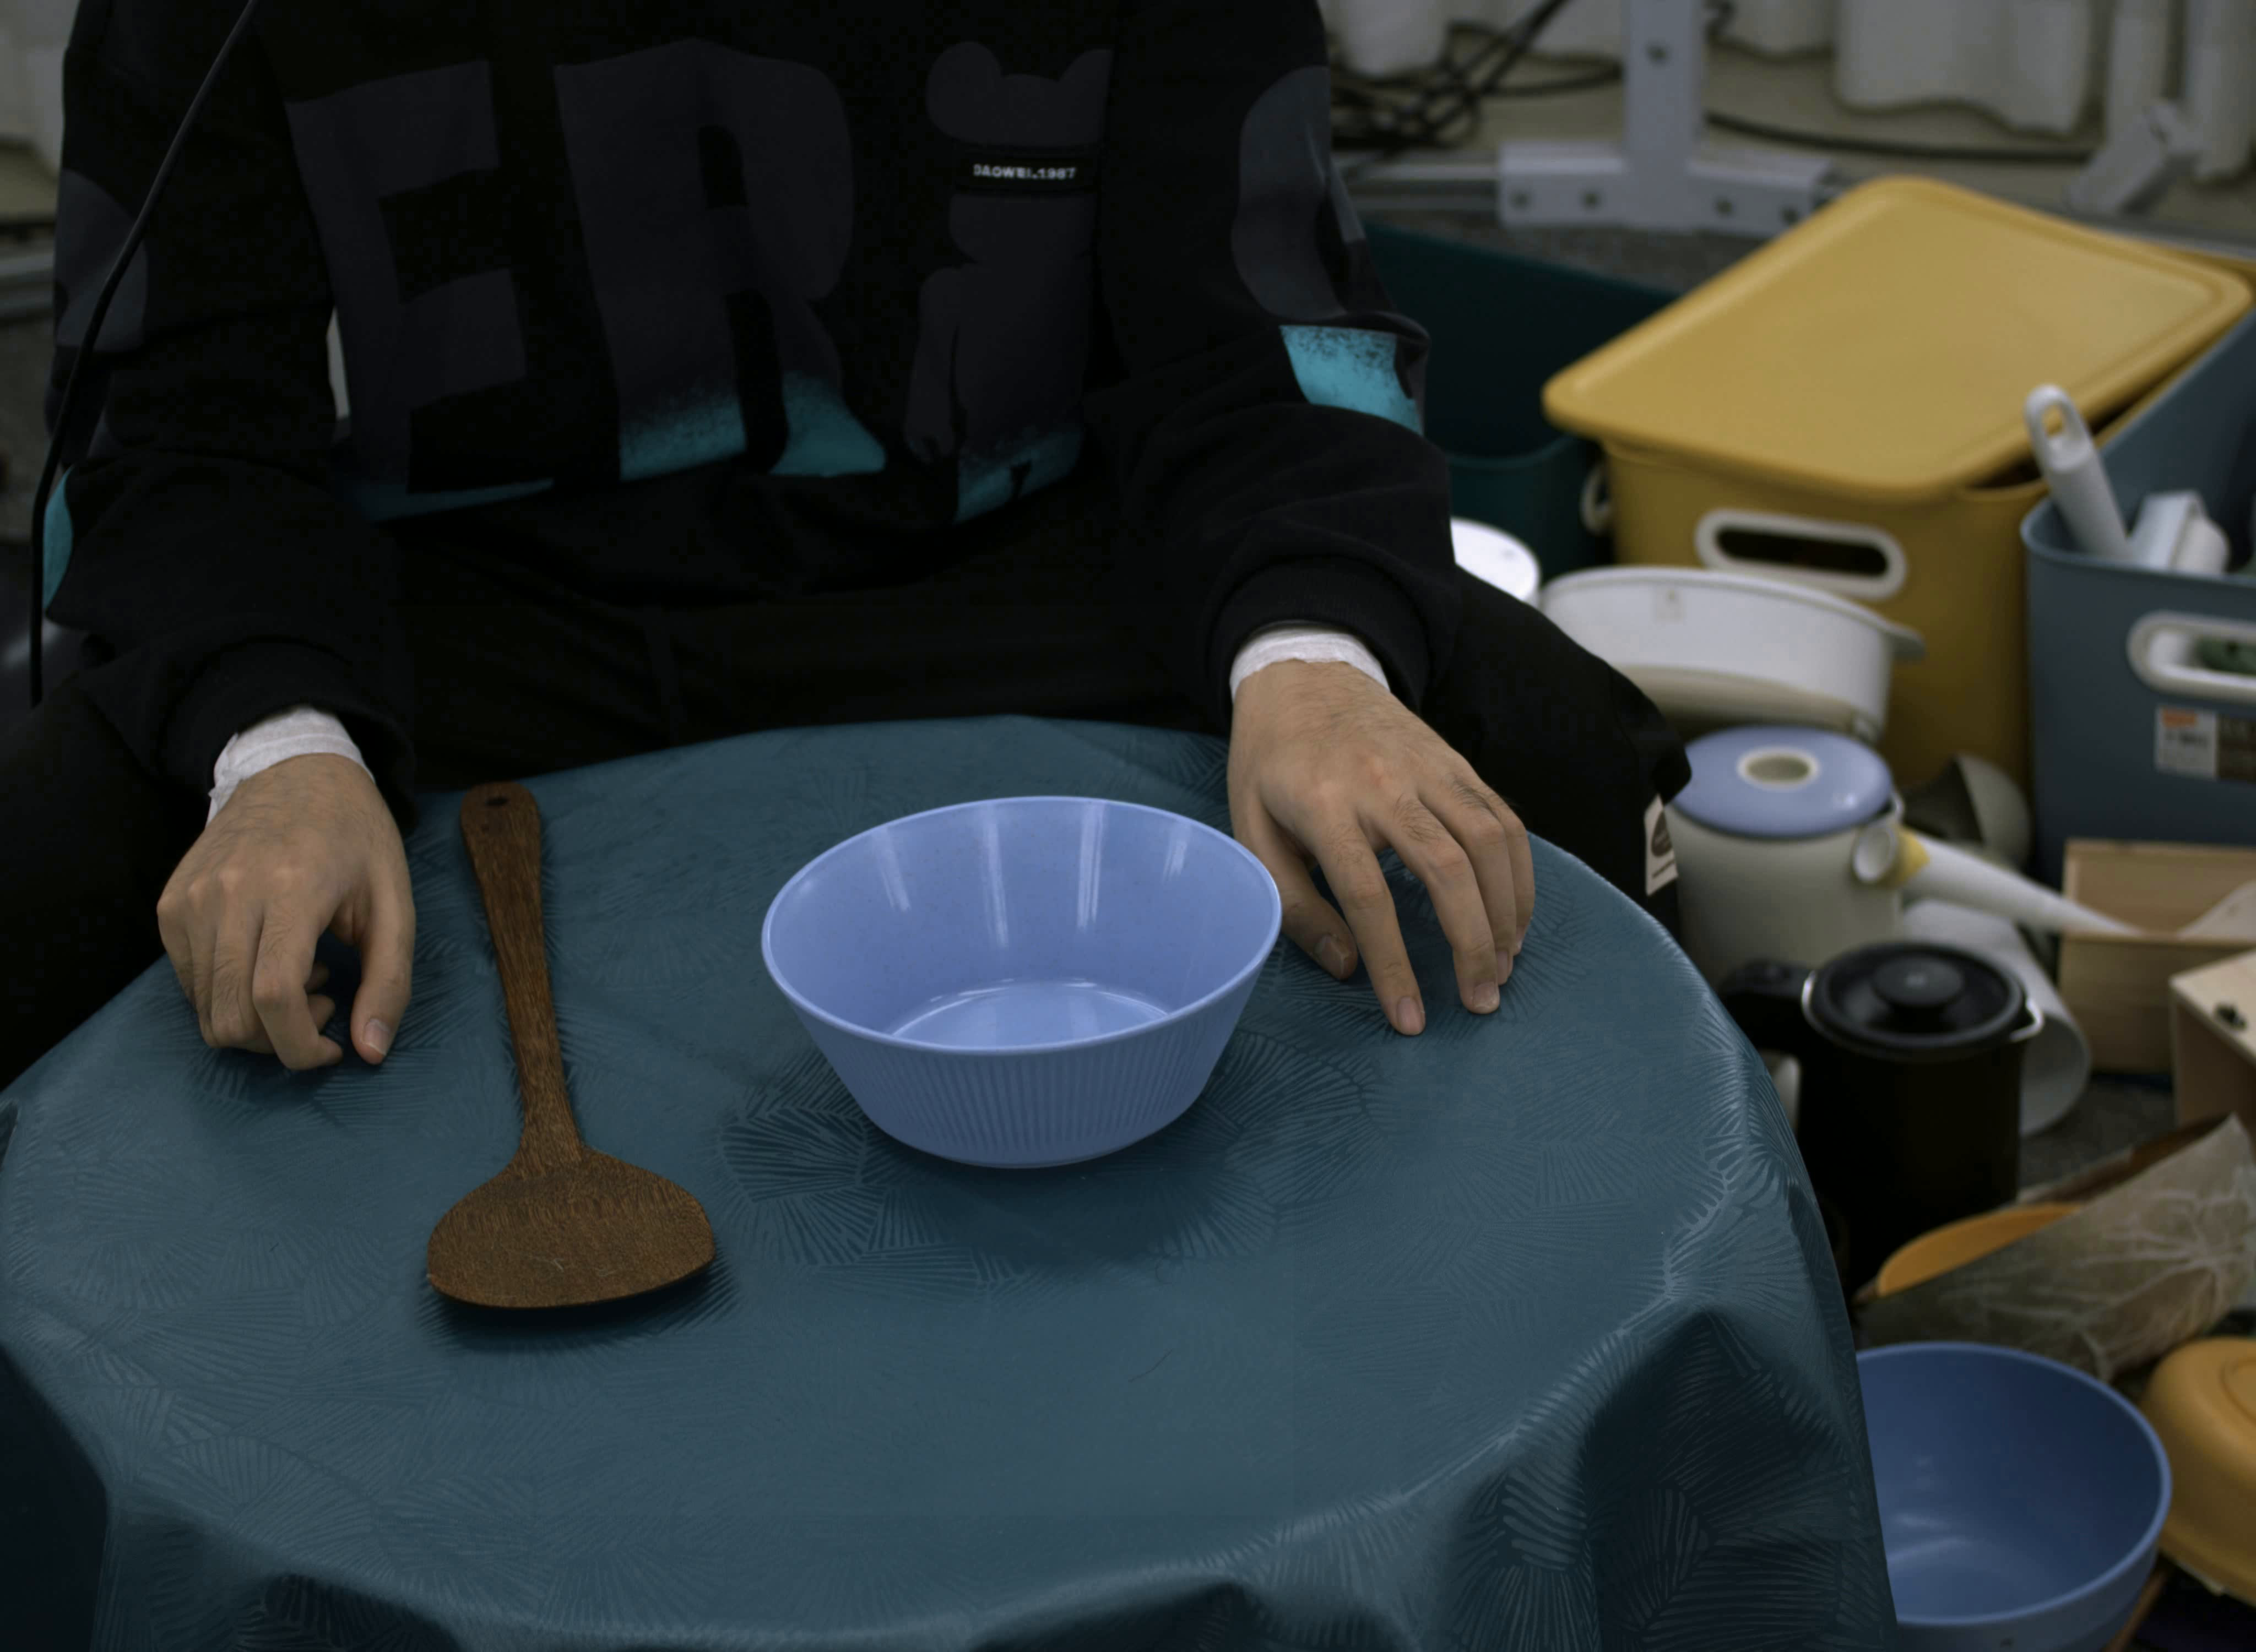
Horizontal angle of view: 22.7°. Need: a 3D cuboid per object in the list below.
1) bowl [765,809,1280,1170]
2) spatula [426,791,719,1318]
[{"bbox_3d":[-0.034,0.061,1.907,0.175,0.069,0.178,-2,26,1],"label":"bowl"},{"bbox_3d":[-0.208,0.072,1.964,0.096,0.015,0.390,-6,27,-8],"label":"spatula"}]
